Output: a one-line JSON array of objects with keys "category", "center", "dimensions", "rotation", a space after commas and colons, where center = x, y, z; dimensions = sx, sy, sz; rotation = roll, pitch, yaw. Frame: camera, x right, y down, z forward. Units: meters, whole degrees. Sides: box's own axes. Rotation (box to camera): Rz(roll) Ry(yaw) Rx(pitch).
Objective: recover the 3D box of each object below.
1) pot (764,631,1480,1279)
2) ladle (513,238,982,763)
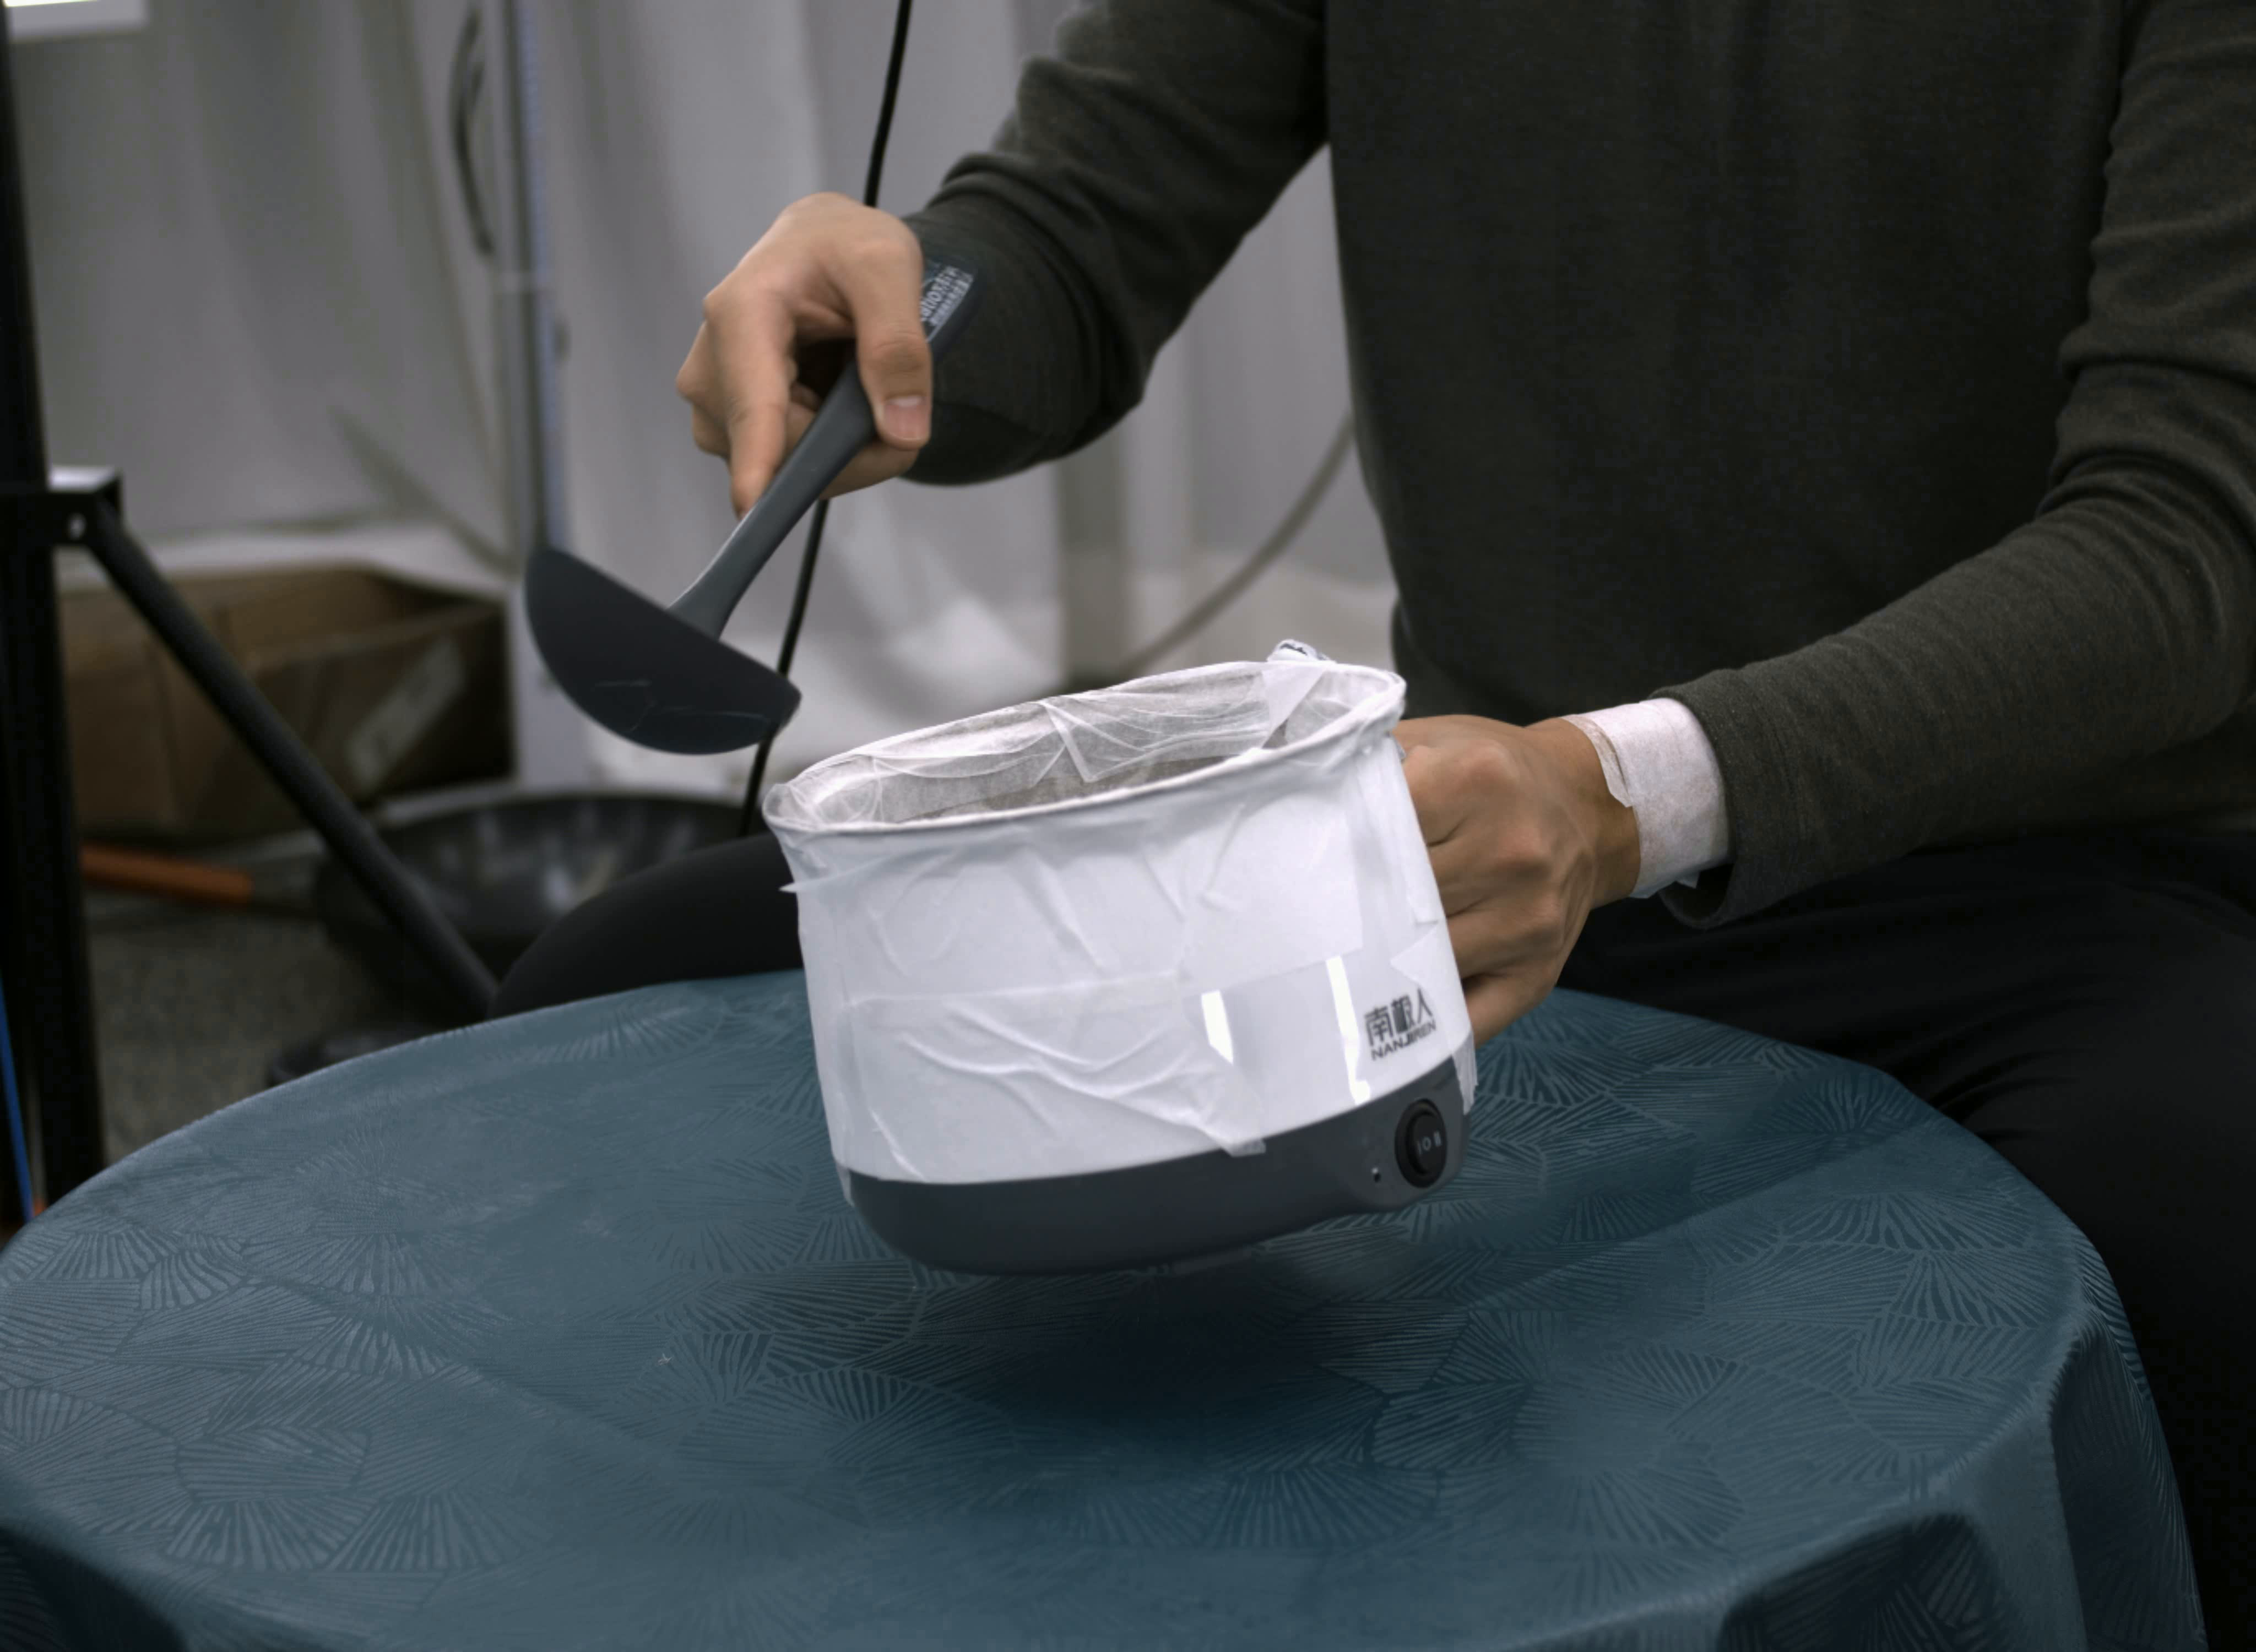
[{"category": "pot", "center": [0.016, 0.031, 1.454], "dimensions": [0.182, 0.136, 0.229], "rotation": [-2, 14, 38]}, {"category": "ladle", "center": [-0.090, -0.113, 1.537], "dimensions": [0.086, 0.064, 0.312], "rotation": [32, 38, -1]}]
